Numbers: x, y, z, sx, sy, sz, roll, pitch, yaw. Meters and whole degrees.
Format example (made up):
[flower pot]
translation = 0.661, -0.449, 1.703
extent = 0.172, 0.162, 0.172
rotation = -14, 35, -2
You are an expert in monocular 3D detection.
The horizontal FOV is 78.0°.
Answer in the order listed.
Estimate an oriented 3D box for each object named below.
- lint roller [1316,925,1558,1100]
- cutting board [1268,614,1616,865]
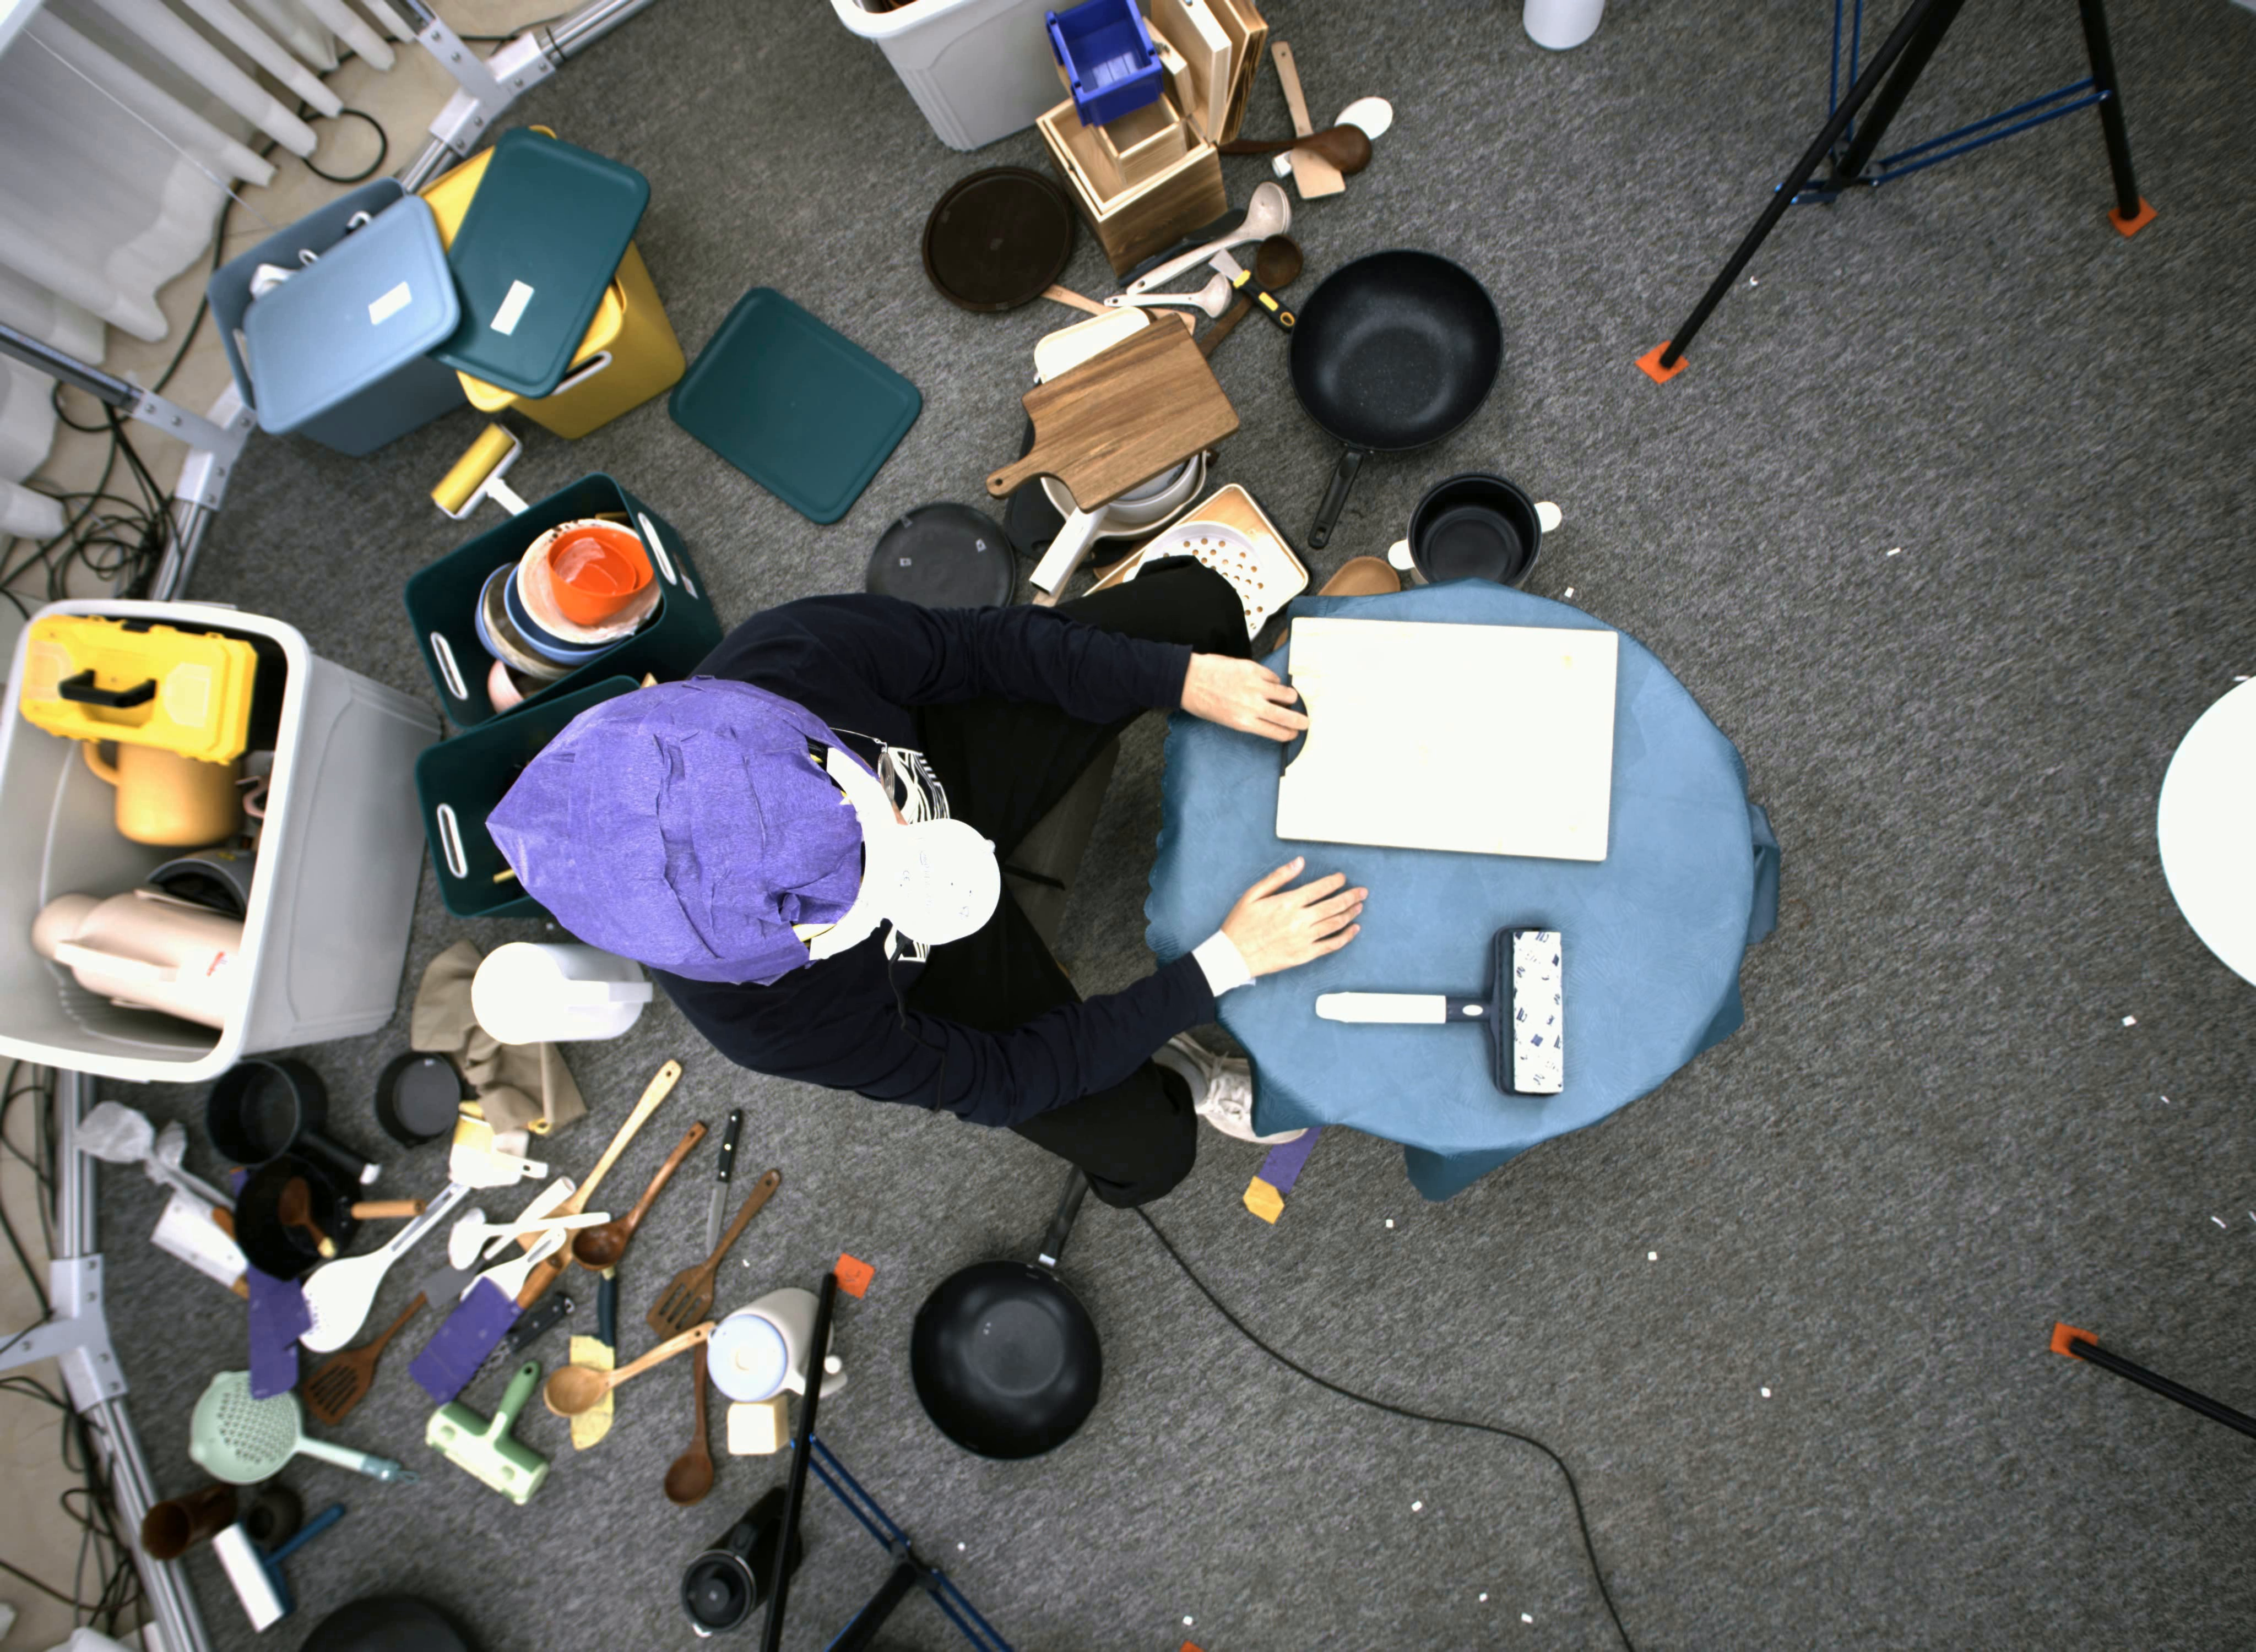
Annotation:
[lint roller]
translation = 0.317, 0.189, 1.424
extent = 0.248, 0.050, 0.175
rotation = -1, 87, 13
[cutting board]
translation = 0.329, -0.096, 1.450
extent = 0.350, 0.023, 0.249
rotation = 3, 87, 11
